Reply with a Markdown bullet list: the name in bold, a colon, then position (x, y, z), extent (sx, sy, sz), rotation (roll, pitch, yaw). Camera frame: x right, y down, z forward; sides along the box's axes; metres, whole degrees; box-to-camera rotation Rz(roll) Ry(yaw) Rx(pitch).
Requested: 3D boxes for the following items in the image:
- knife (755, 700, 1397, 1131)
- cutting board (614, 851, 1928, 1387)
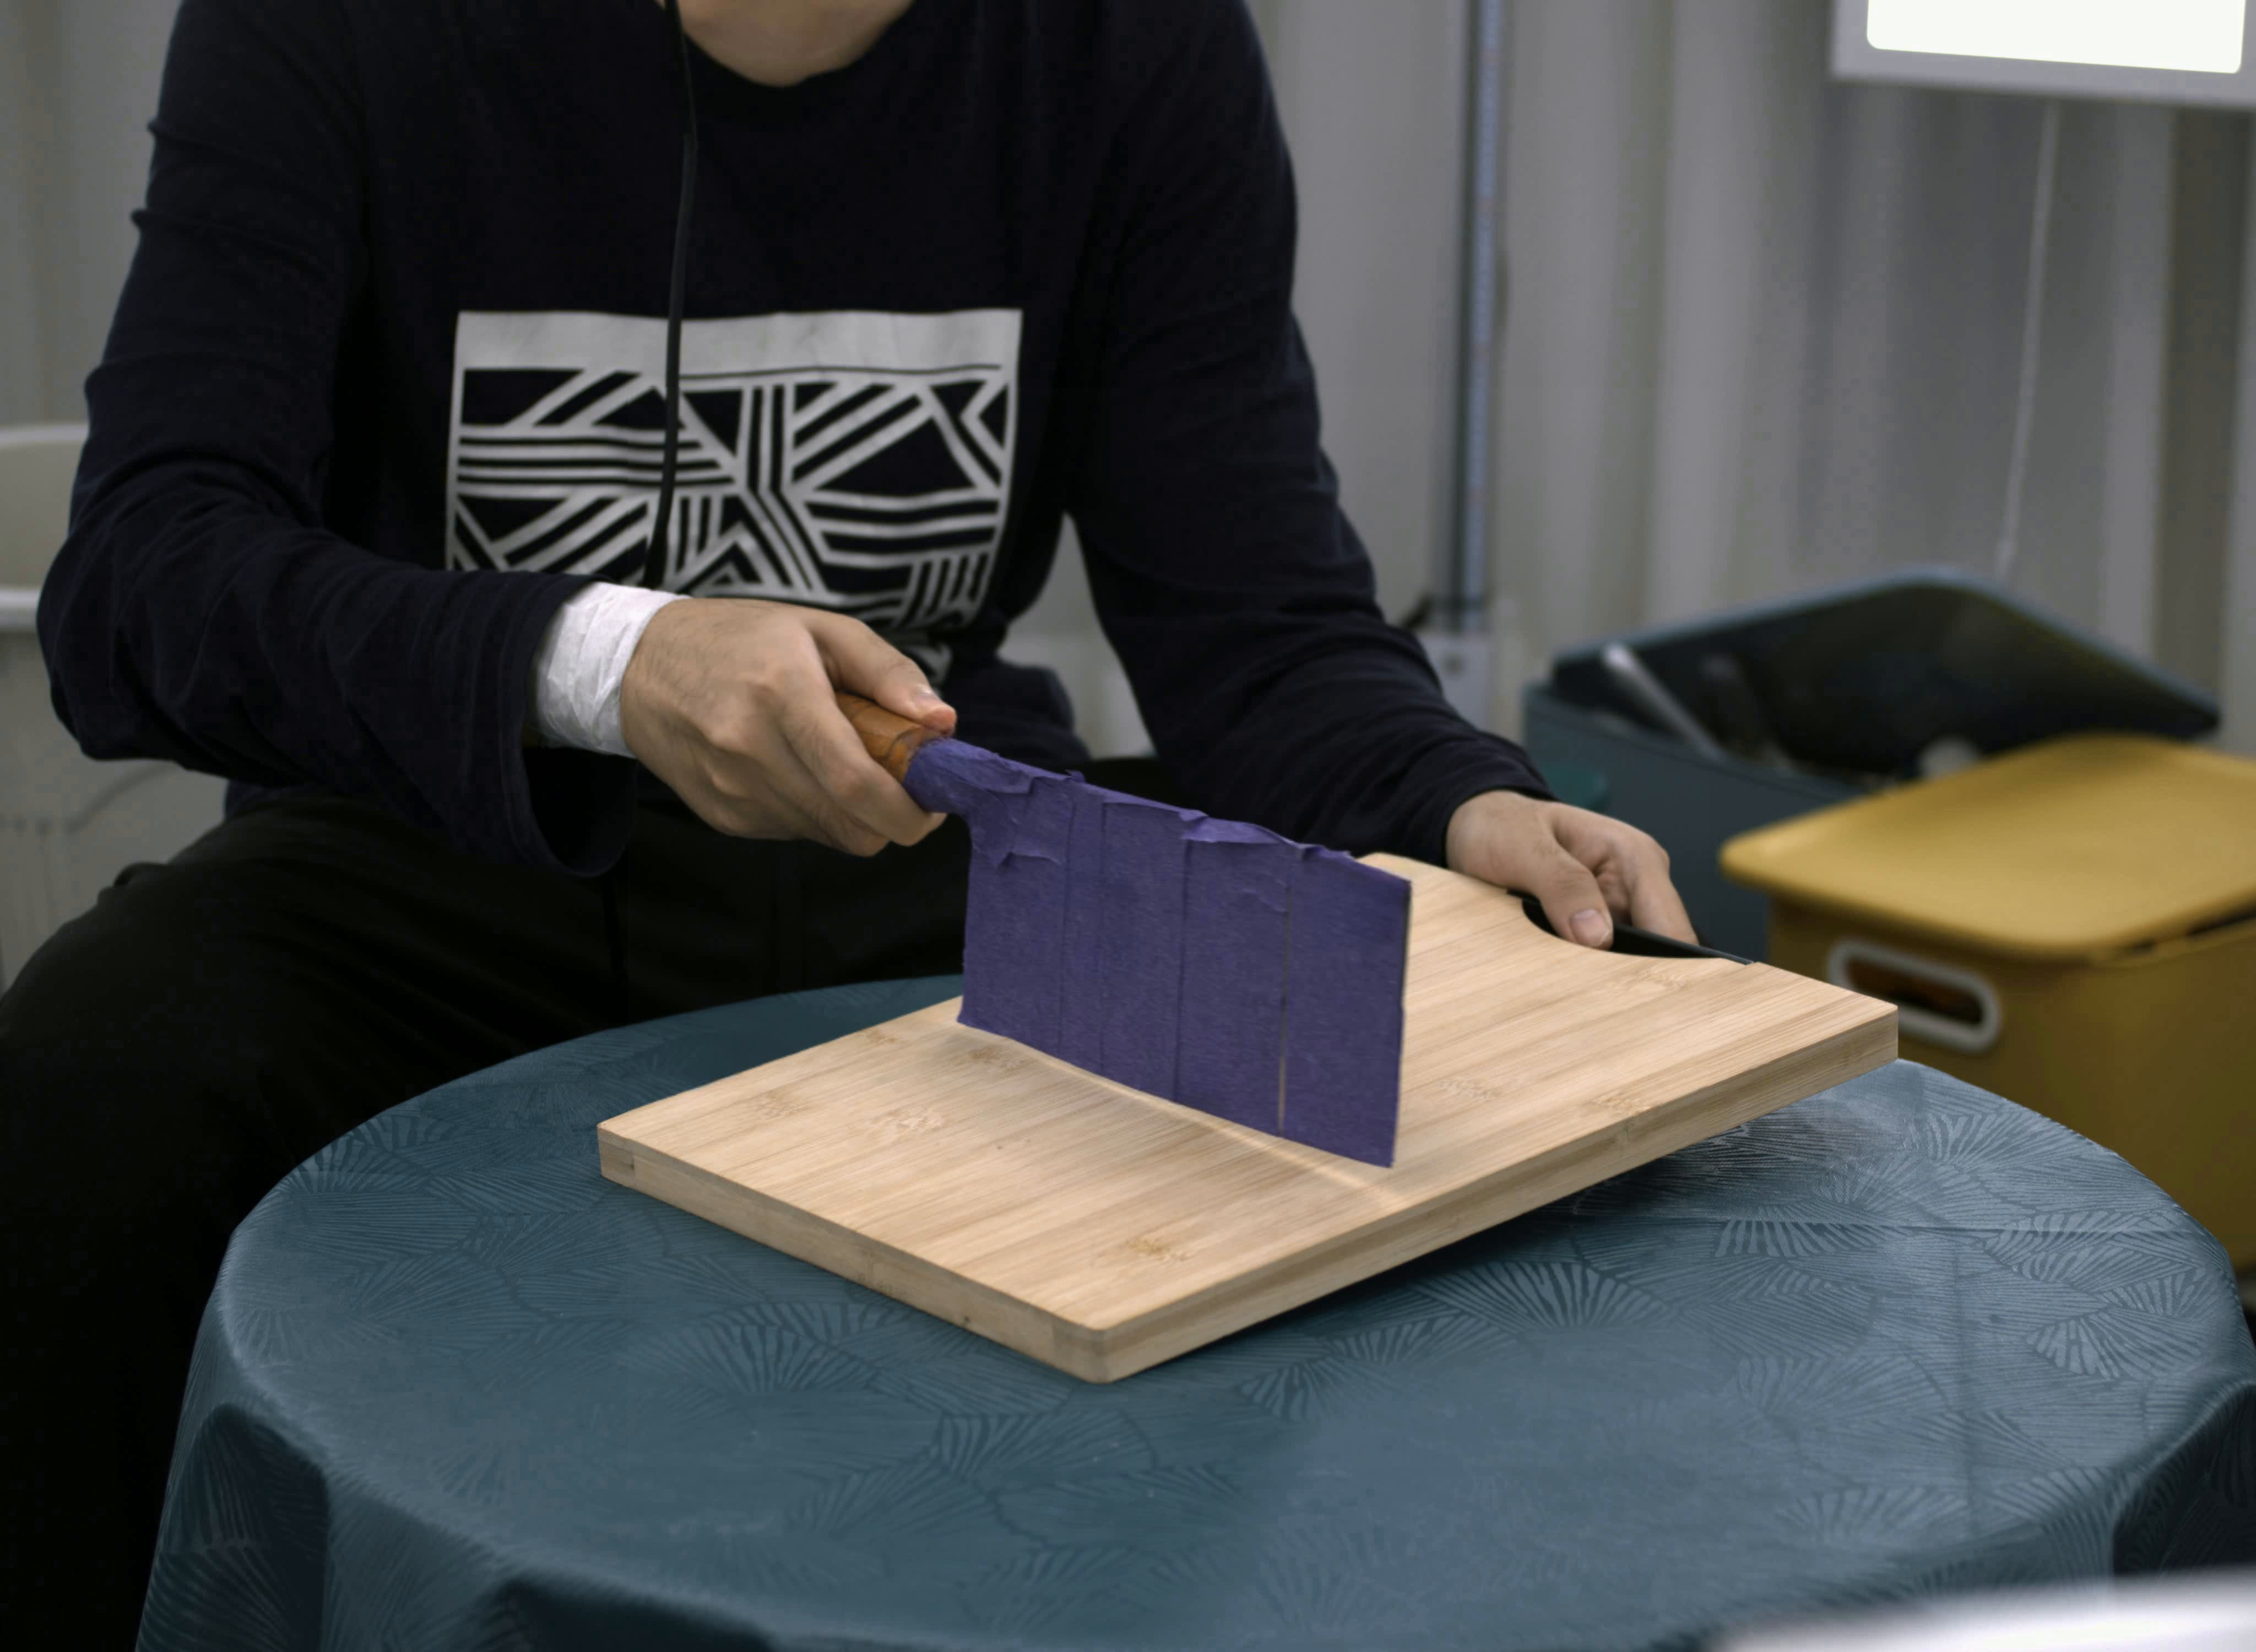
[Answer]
- **knife**: position (-0.022, 0.027, 1.639), extent (0.032, 0.104, 0.311), rotation (-4, 13, -37)
- **cutting board**: position (0.045, 0.082, 1.654), extent (0.350, 0.024, 0.247), rotation (-18, 24, -39)
